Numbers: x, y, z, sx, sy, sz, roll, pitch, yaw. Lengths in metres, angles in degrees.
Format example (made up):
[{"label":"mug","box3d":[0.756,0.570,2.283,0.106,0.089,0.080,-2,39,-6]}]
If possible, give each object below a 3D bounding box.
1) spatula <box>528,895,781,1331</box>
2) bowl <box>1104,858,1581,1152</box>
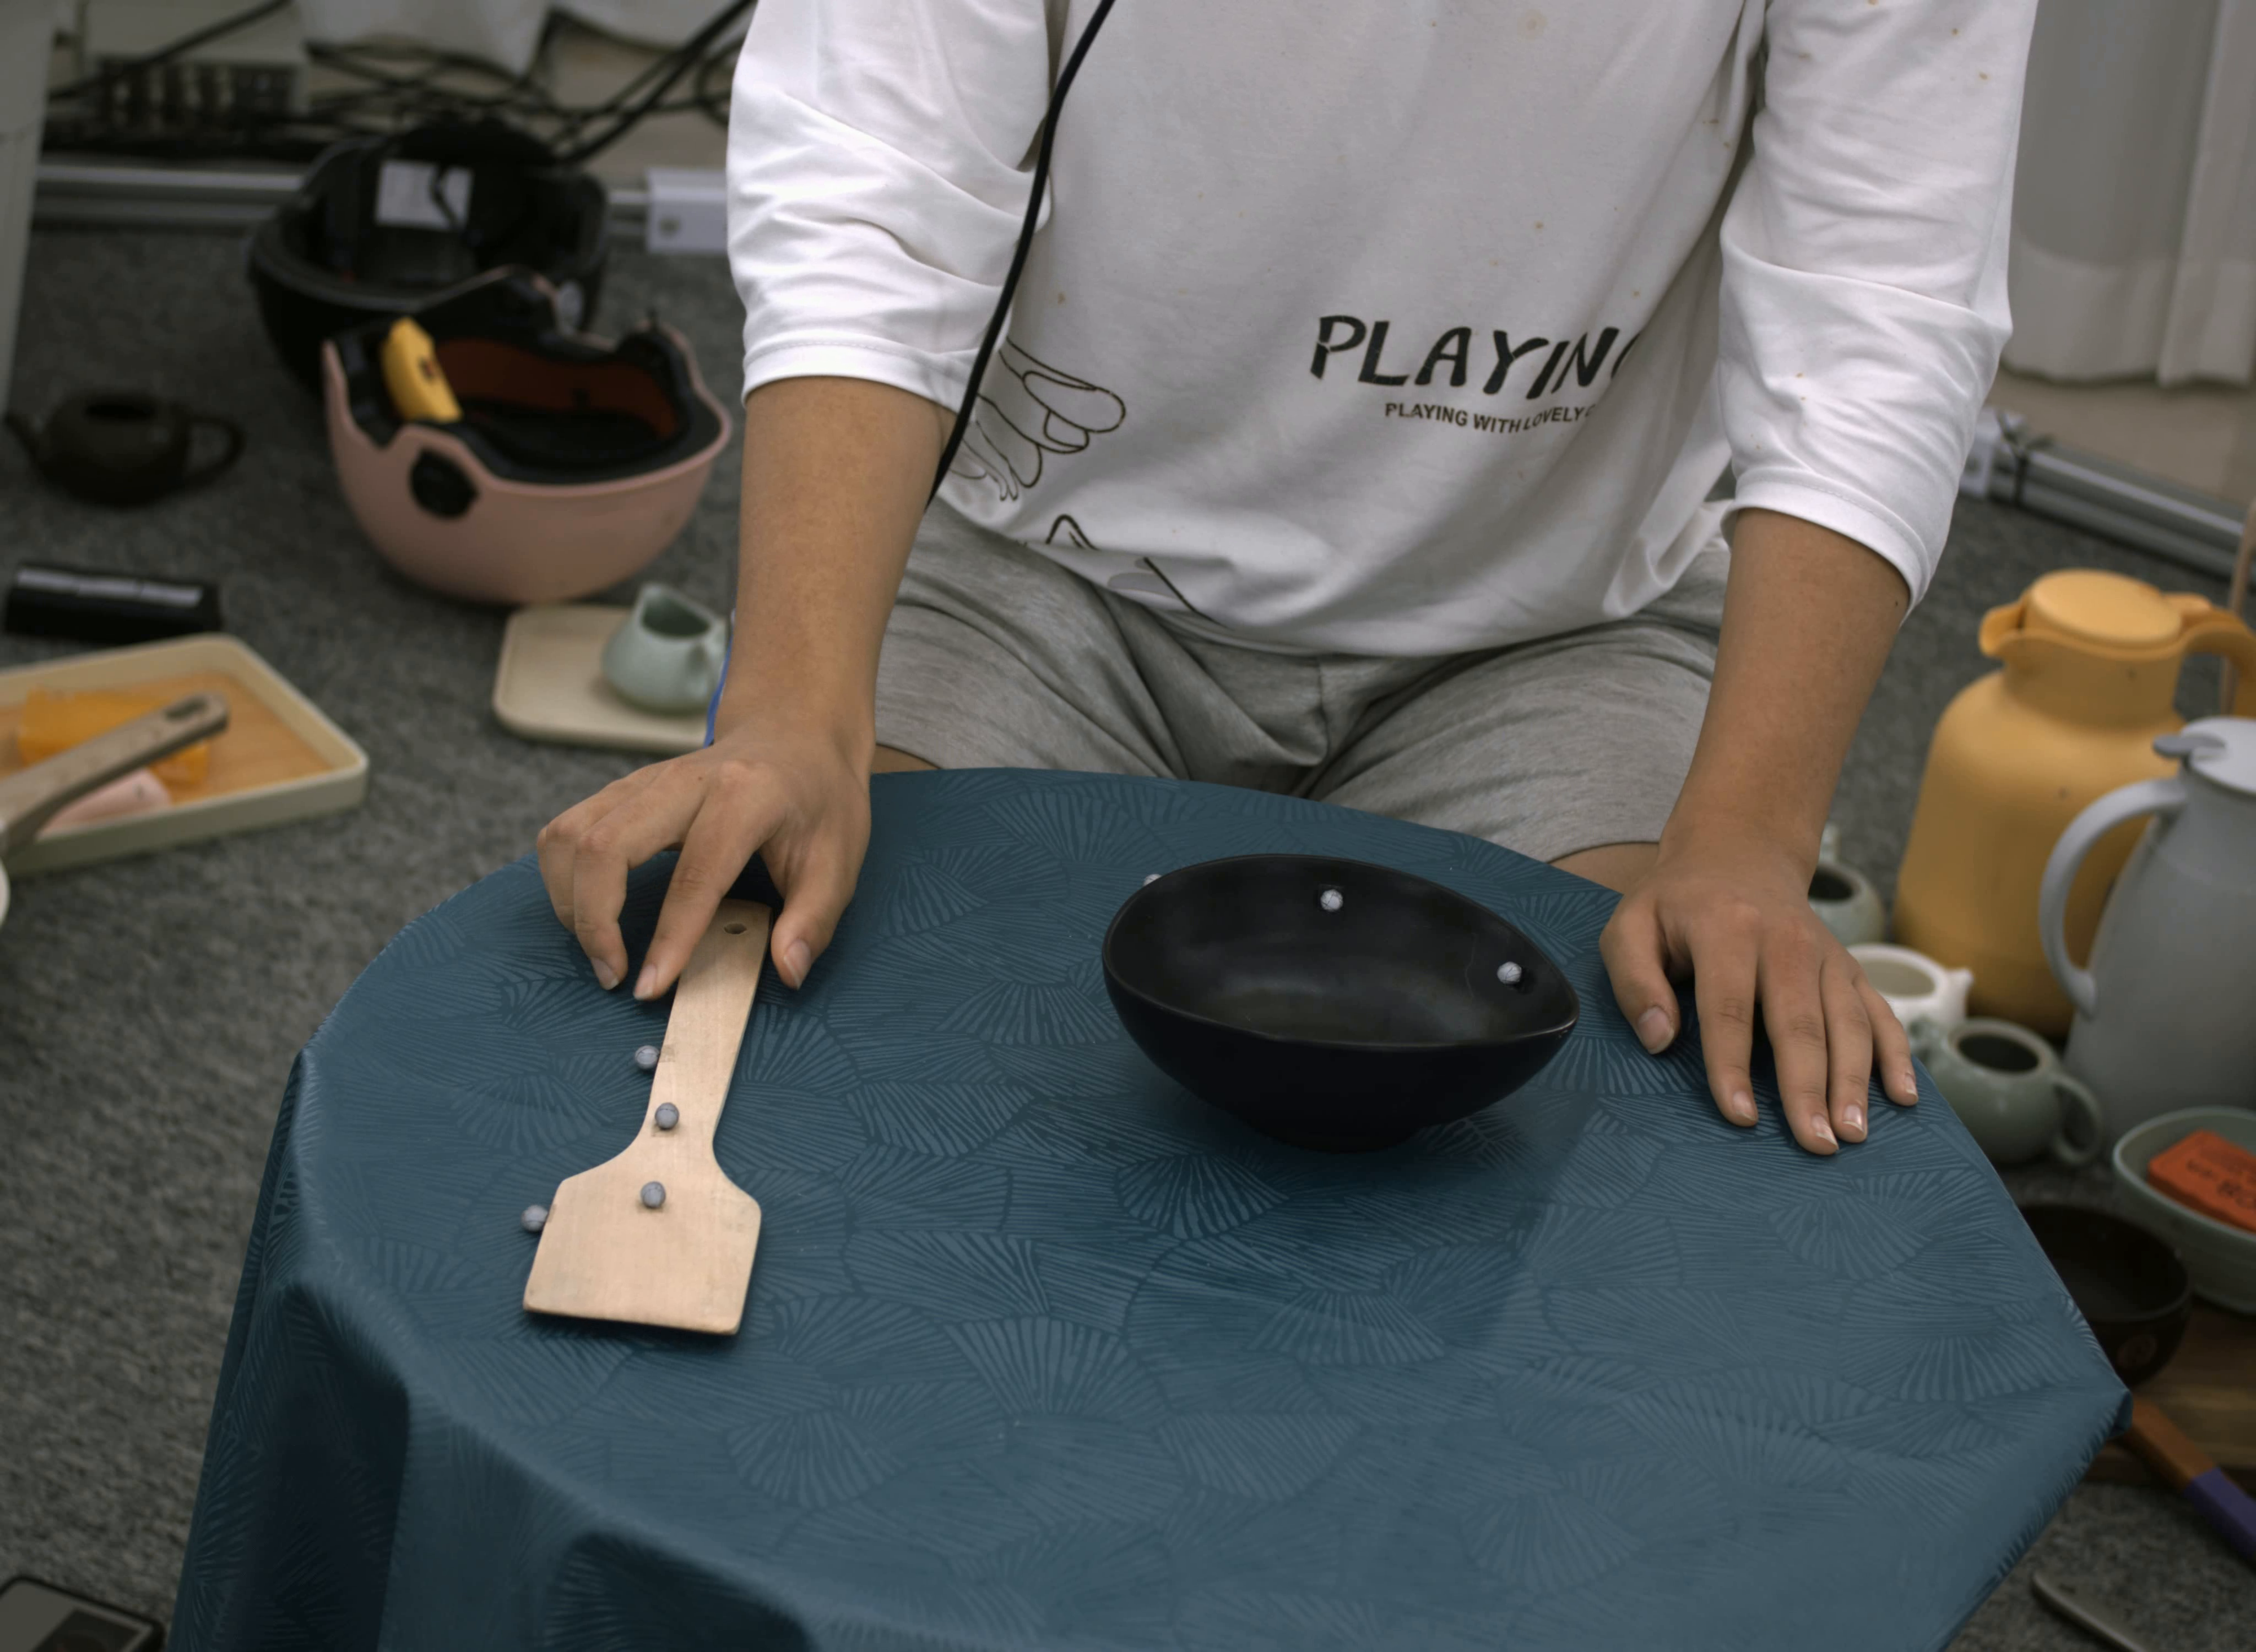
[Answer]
[{"label":"spatula","box3d":[-0.150,0.093,1.820,0.072,0.010,0.294,6,27,1]},{"label":"bowl","box3d":[0.072,0.069,1.860,0.169,0.066,0.138,3,26,-12]}]
